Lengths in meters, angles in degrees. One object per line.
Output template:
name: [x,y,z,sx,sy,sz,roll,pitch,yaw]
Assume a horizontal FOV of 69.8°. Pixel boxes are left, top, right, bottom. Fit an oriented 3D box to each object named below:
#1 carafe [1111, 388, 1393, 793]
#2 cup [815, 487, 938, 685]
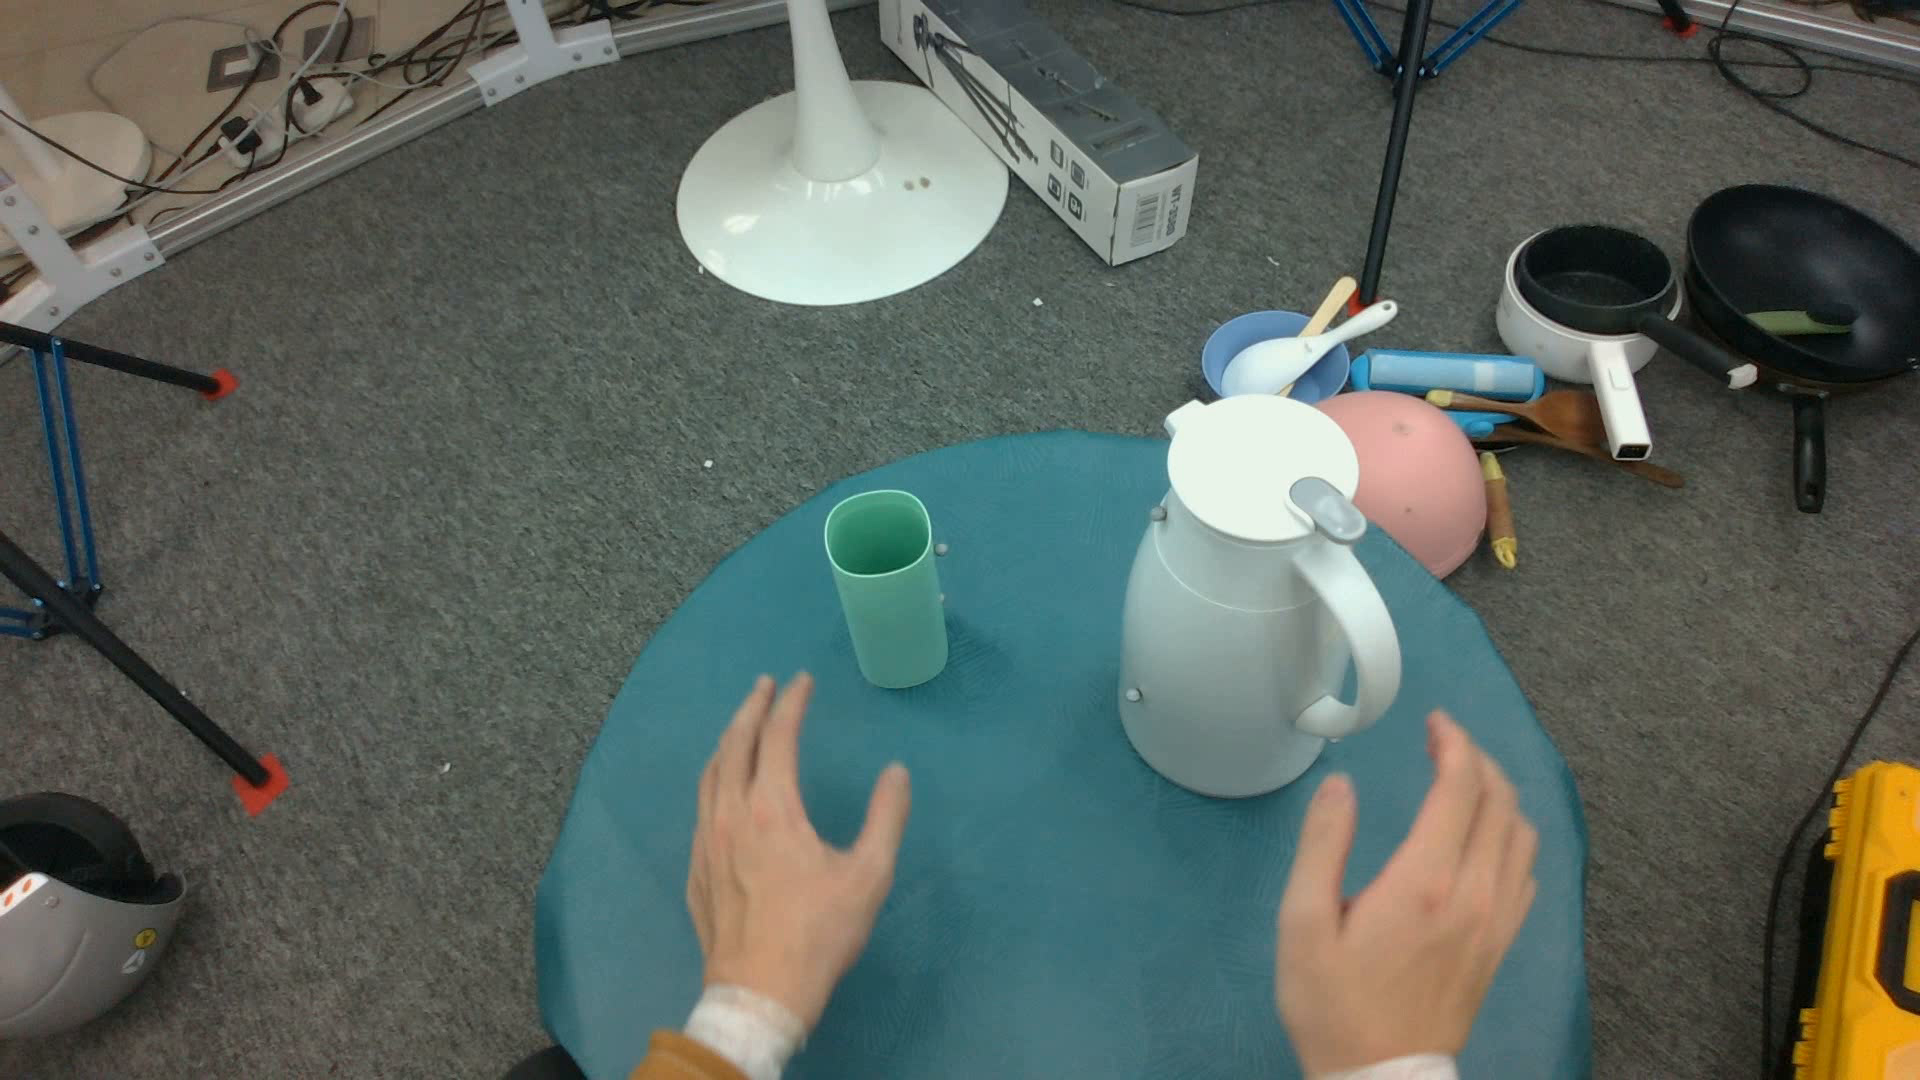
carafe: [0.164,0.039,0.756,0.133,0.247,0.168,-31,58,-17]
cup: [-0.049,0.032,0.853,0.067,0.132,0.067,-2,54,3]
